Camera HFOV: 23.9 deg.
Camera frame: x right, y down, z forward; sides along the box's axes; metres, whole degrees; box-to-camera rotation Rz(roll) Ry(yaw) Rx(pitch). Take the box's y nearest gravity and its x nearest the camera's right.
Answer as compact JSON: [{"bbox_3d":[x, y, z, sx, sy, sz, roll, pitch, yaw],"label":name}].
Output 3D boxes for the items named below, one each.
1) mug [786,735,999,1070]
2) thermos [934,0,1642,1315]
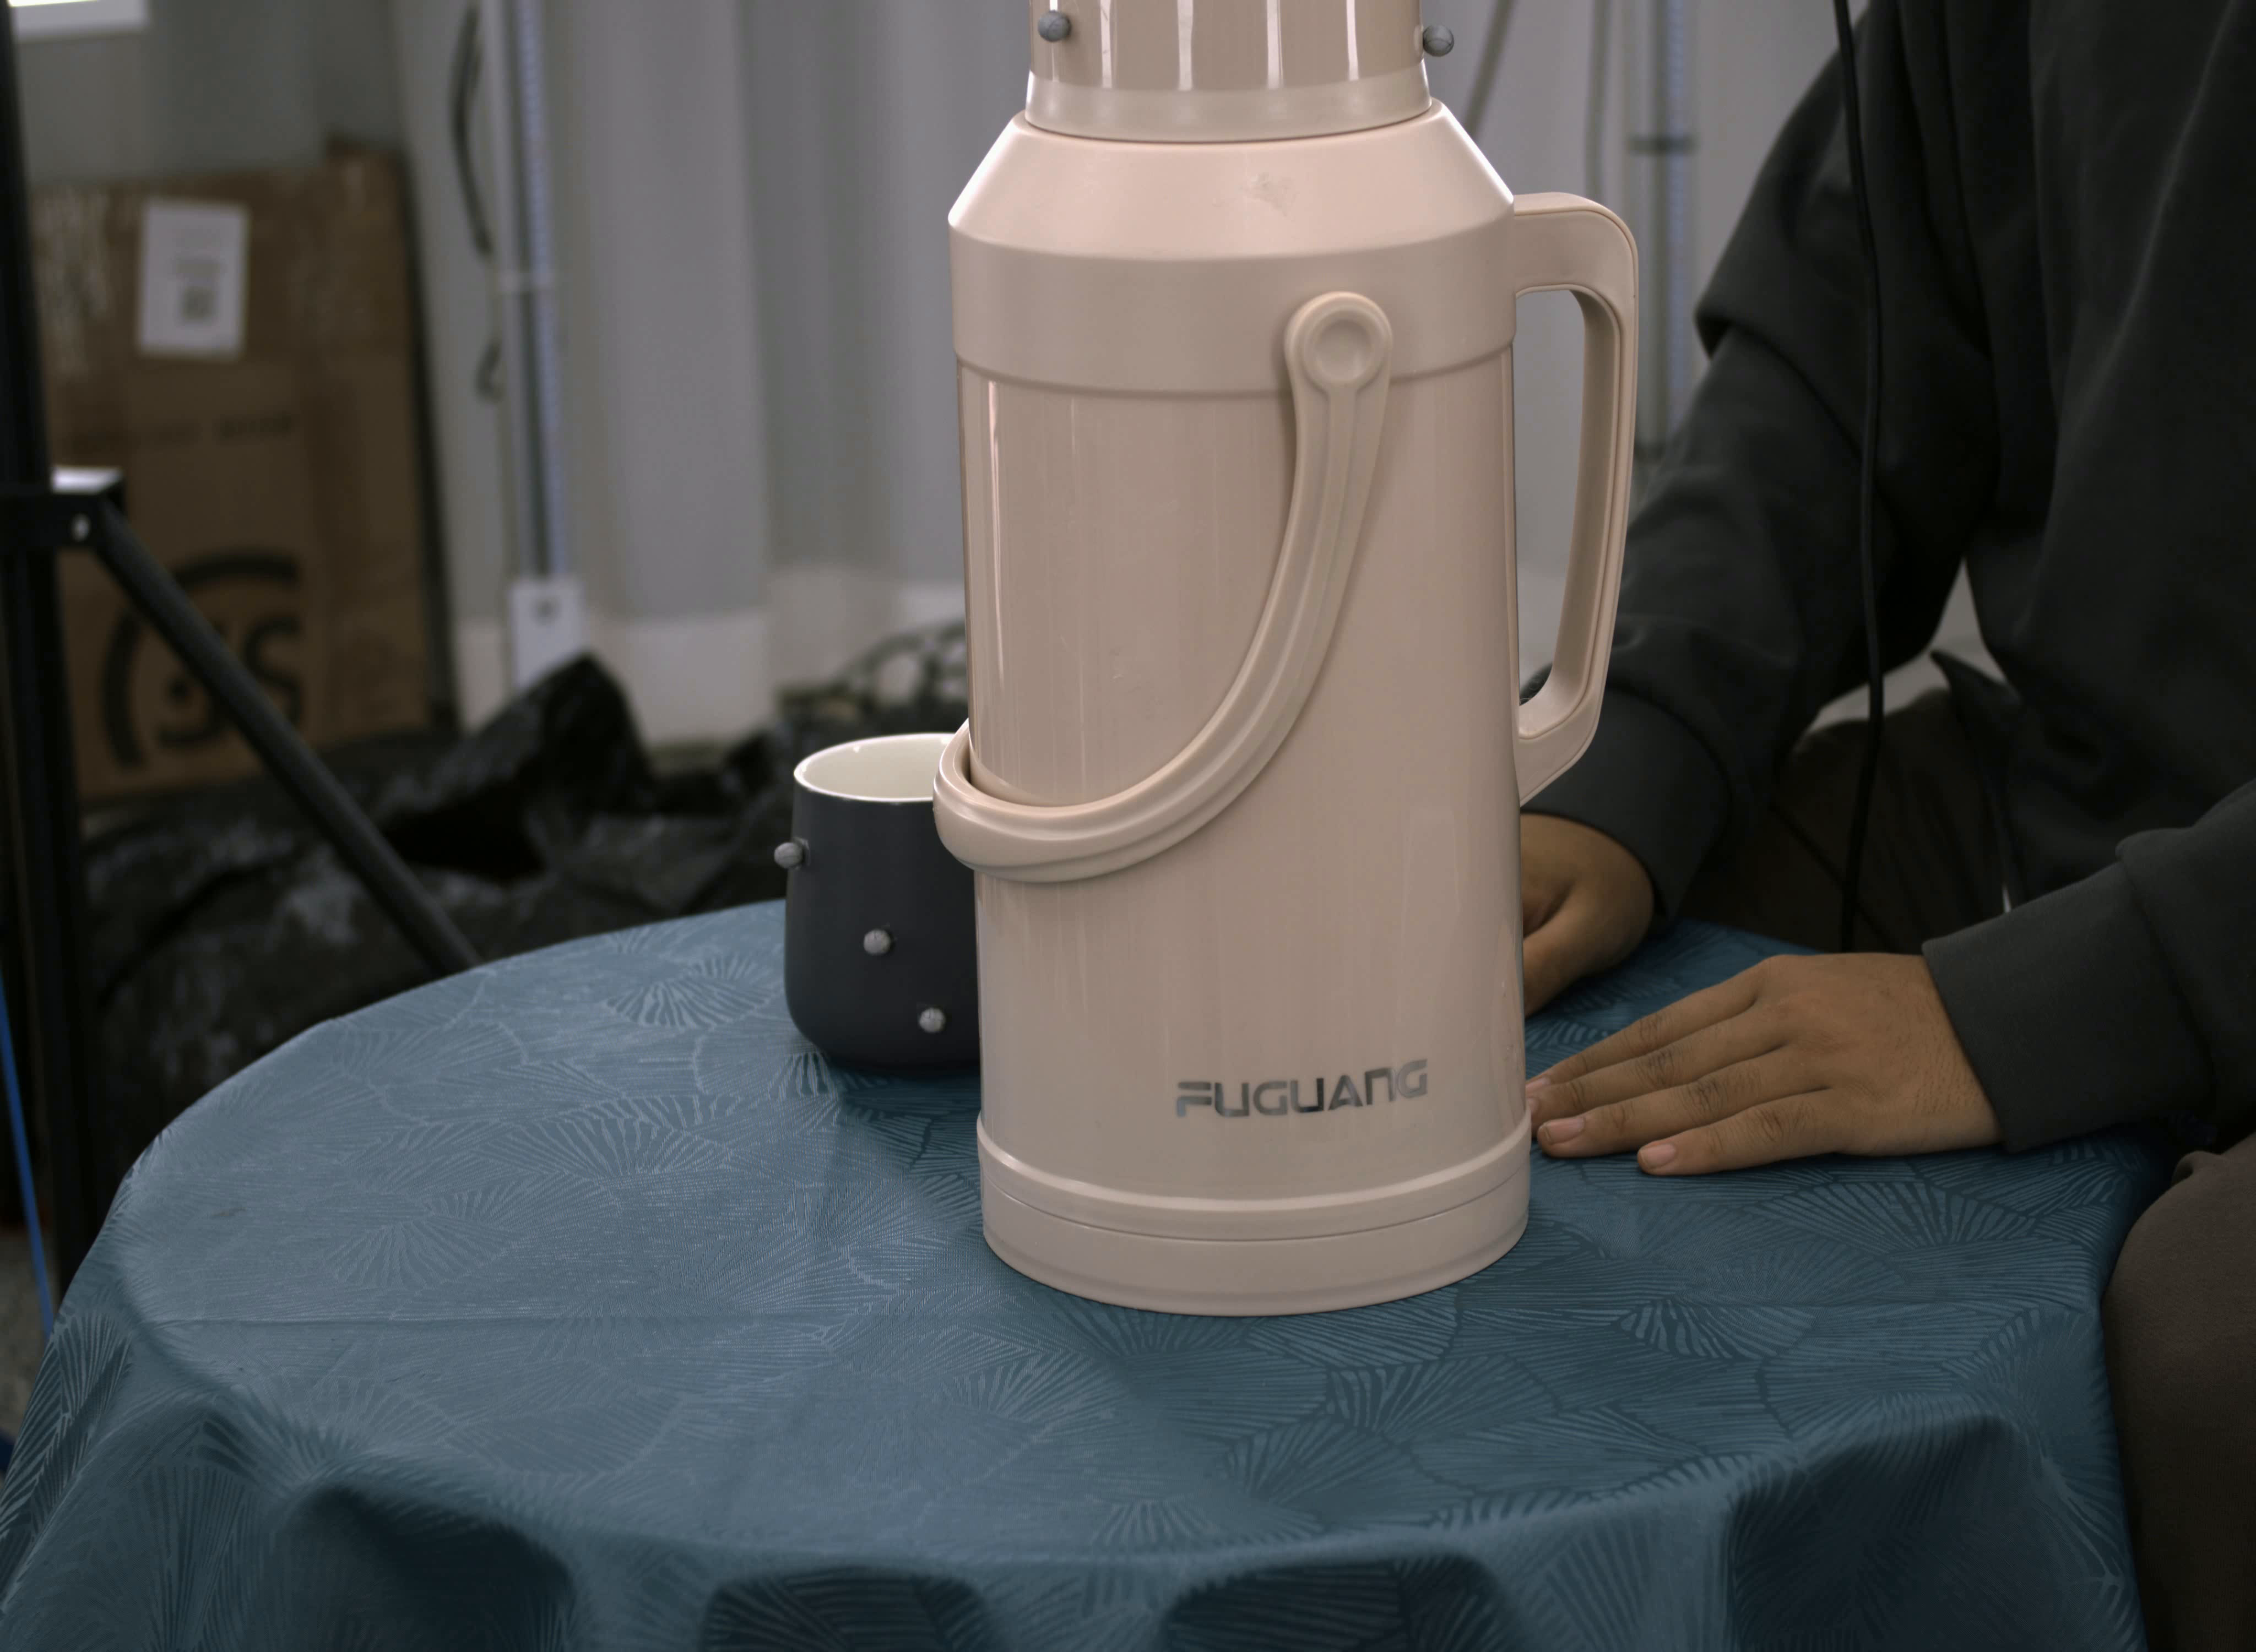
[{"bbox_3d":[-0.050,0.022,1.700,0.121,0.090,0.095,-9,17,-23],"label":"mug"},{"bbox_3d":[0.045,-0.079,1.484,0.203,0.406,0.178,-7,15,-16],"label":"thermos"}]
